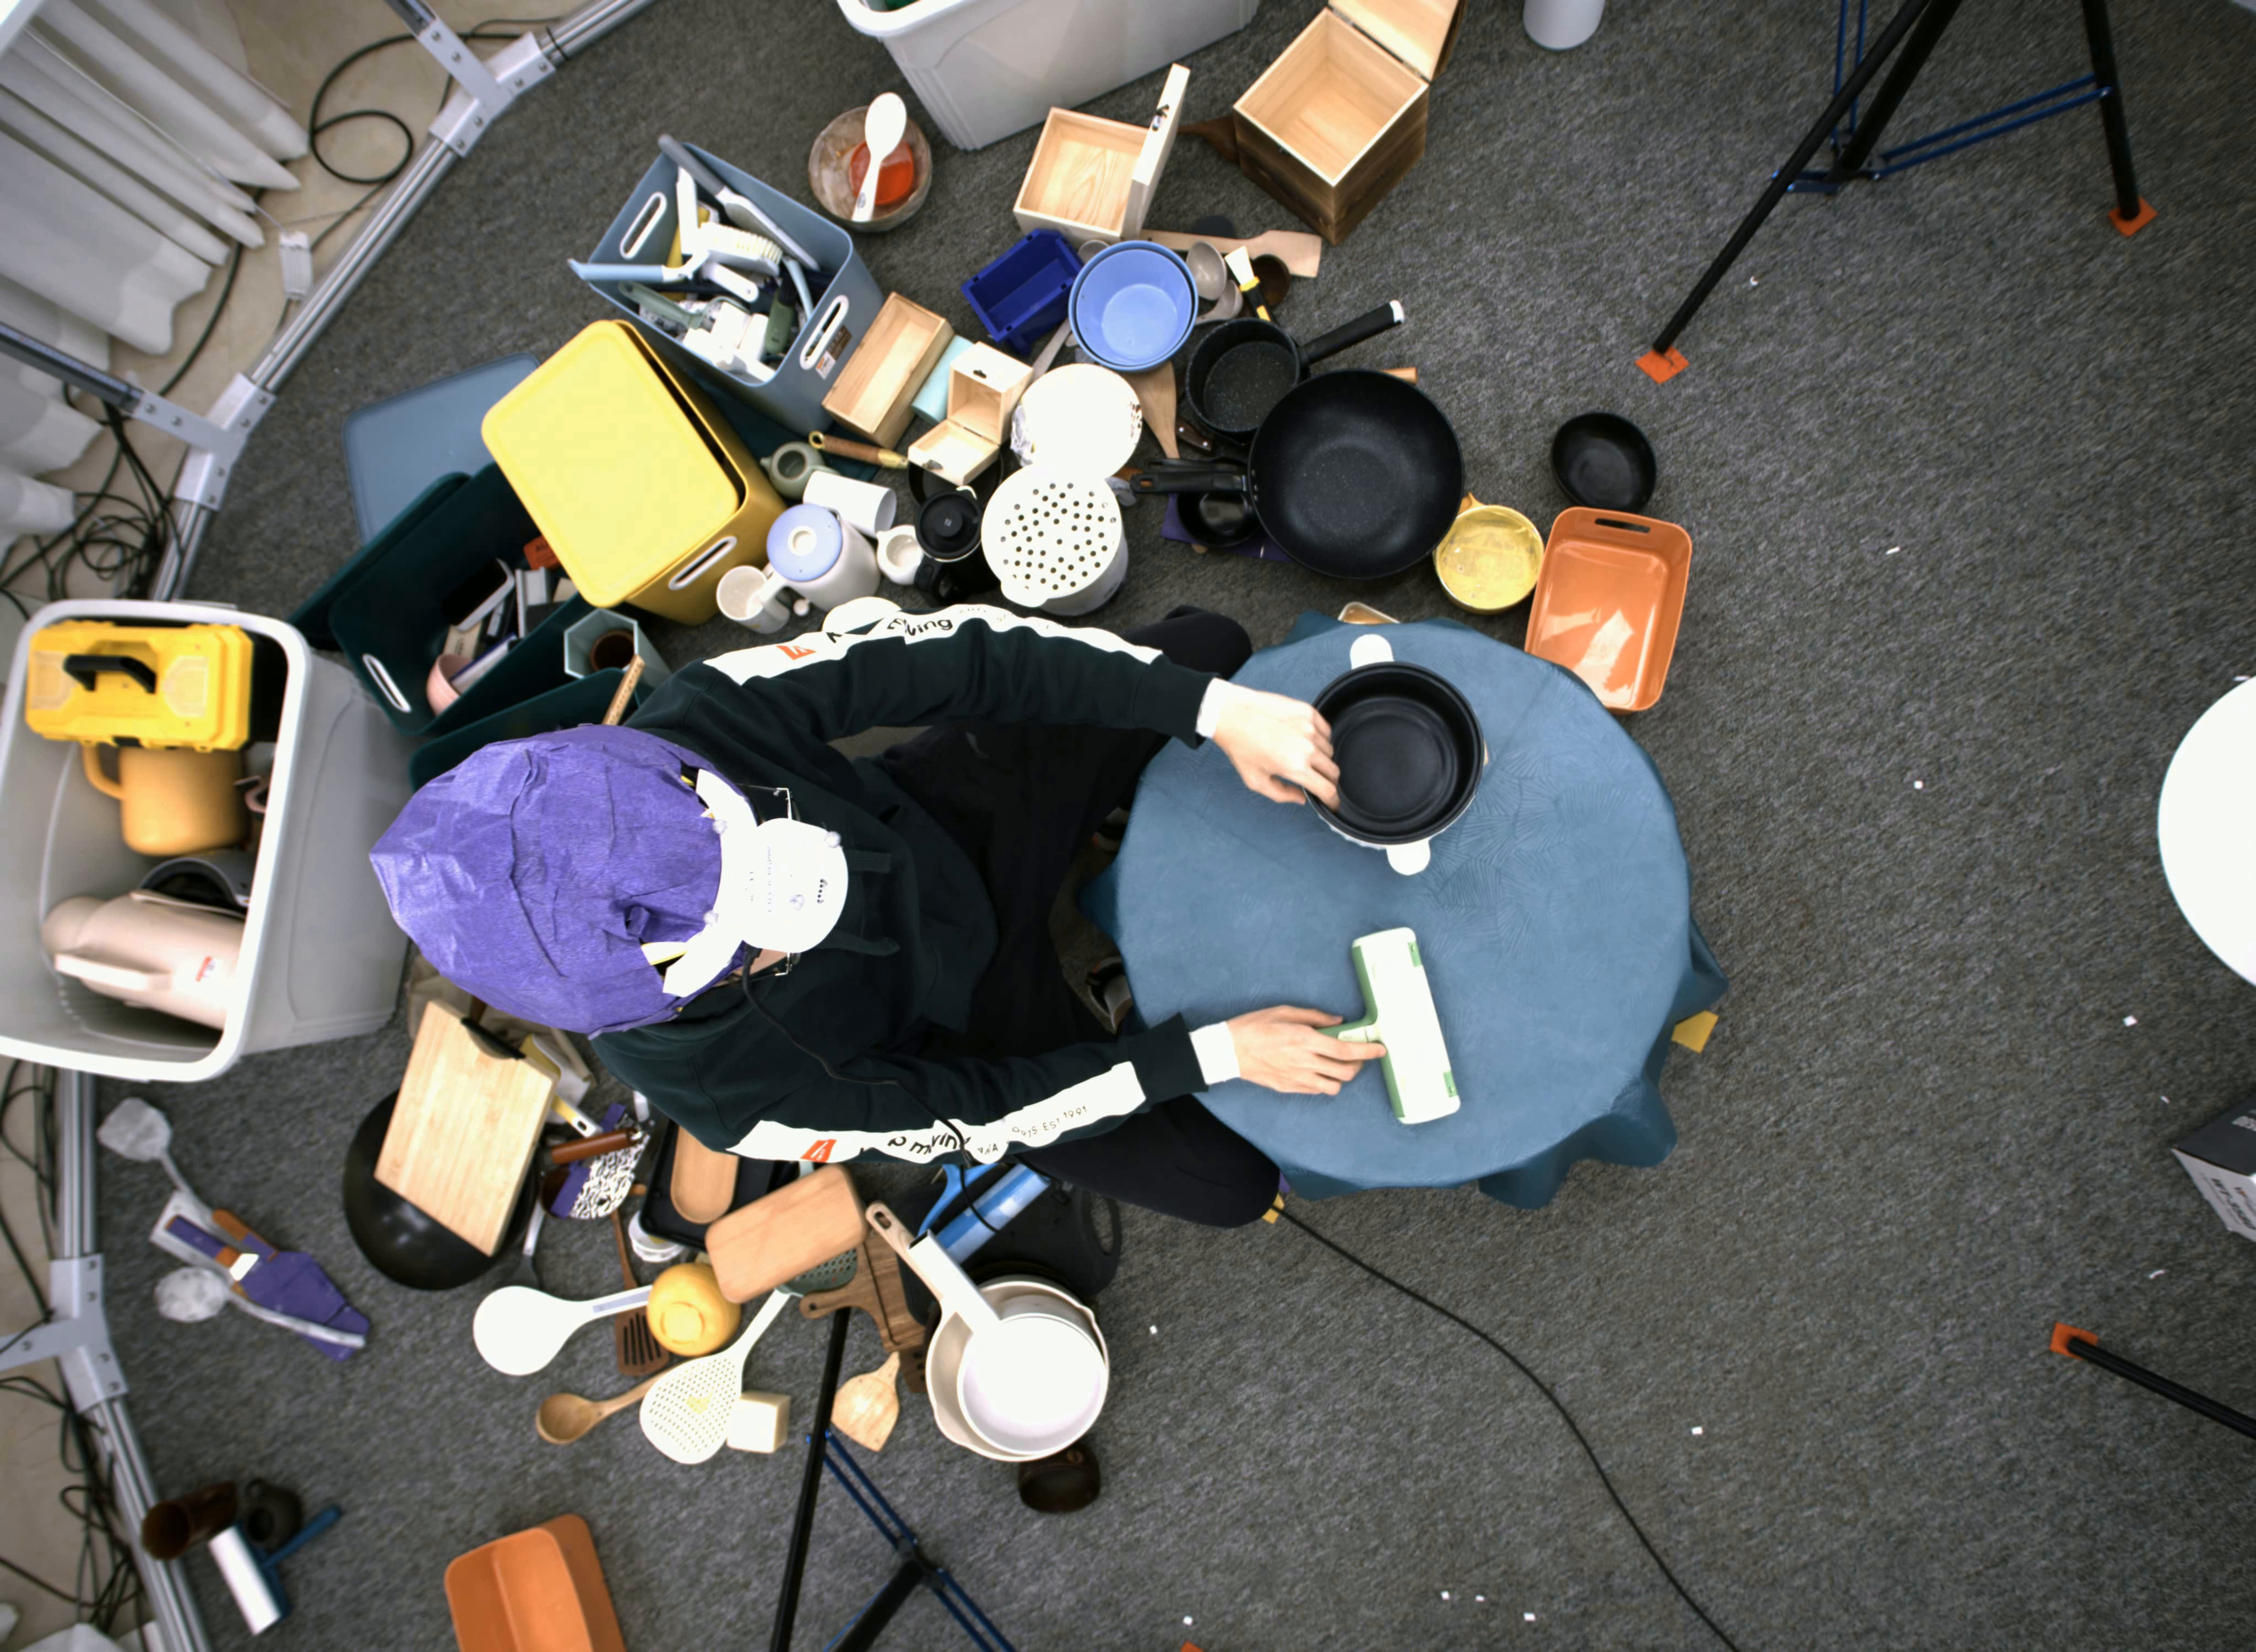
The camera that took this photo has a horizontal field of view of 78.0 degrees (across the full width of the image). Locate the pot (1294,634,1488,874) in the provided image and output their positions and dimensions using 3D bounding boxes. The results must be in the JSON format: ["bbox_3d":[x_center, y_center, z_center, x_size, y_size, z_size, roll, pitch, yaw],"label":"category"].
[{"bbox_3d":[0.268,-0.069,1.393,0.192,0.142,0.239,-11,86,12],"label":"pot"}]

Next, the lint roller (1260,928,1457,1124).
[{"bbox_3d":[0.226,0.216,1.417,0.184,0.082,0.197,-14,85,3],"label":"lint roller"}]
